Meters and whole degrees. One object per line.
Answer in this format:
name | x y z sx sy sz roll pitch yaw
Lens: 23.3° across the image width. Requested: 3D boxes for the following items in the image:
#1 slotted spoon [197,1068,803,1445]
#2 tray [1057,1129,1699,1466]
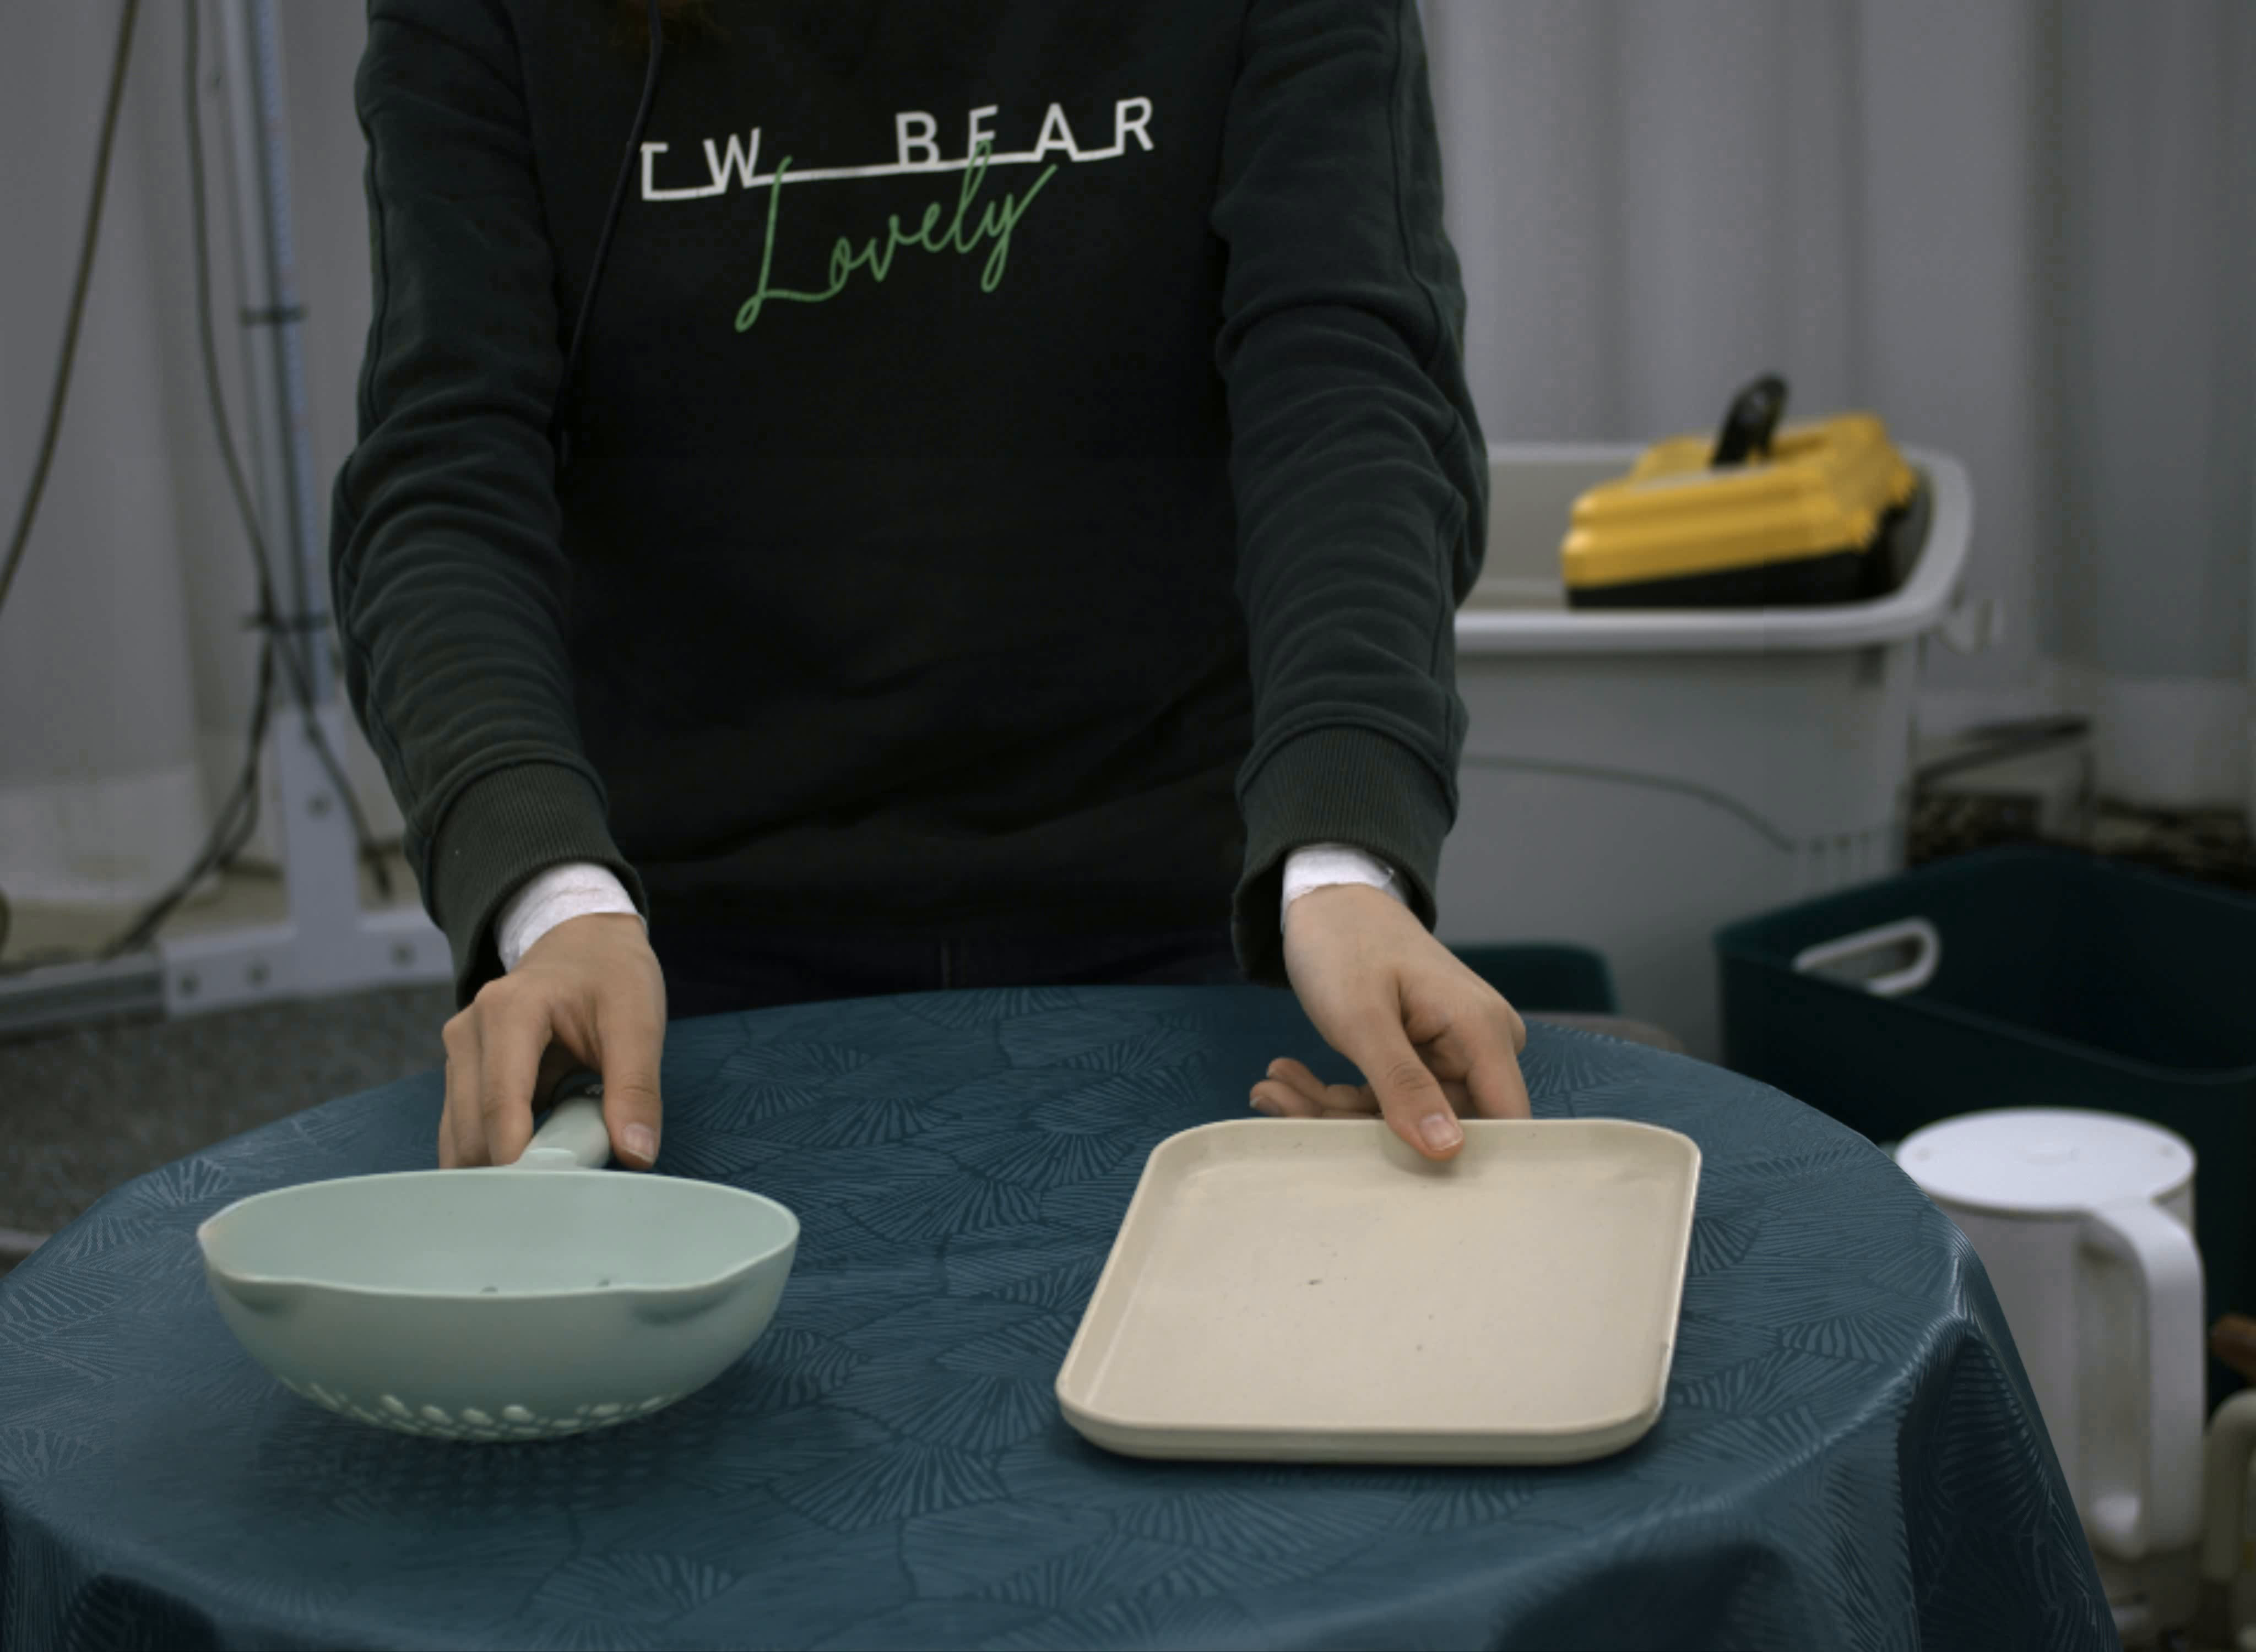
slotted spoon | -0.172 0.112 1.630 0.169 0.075 0.361 2 15 2
tray | 0.077 0.135 1.579 0.171 0.017 0.241 0 16 9
